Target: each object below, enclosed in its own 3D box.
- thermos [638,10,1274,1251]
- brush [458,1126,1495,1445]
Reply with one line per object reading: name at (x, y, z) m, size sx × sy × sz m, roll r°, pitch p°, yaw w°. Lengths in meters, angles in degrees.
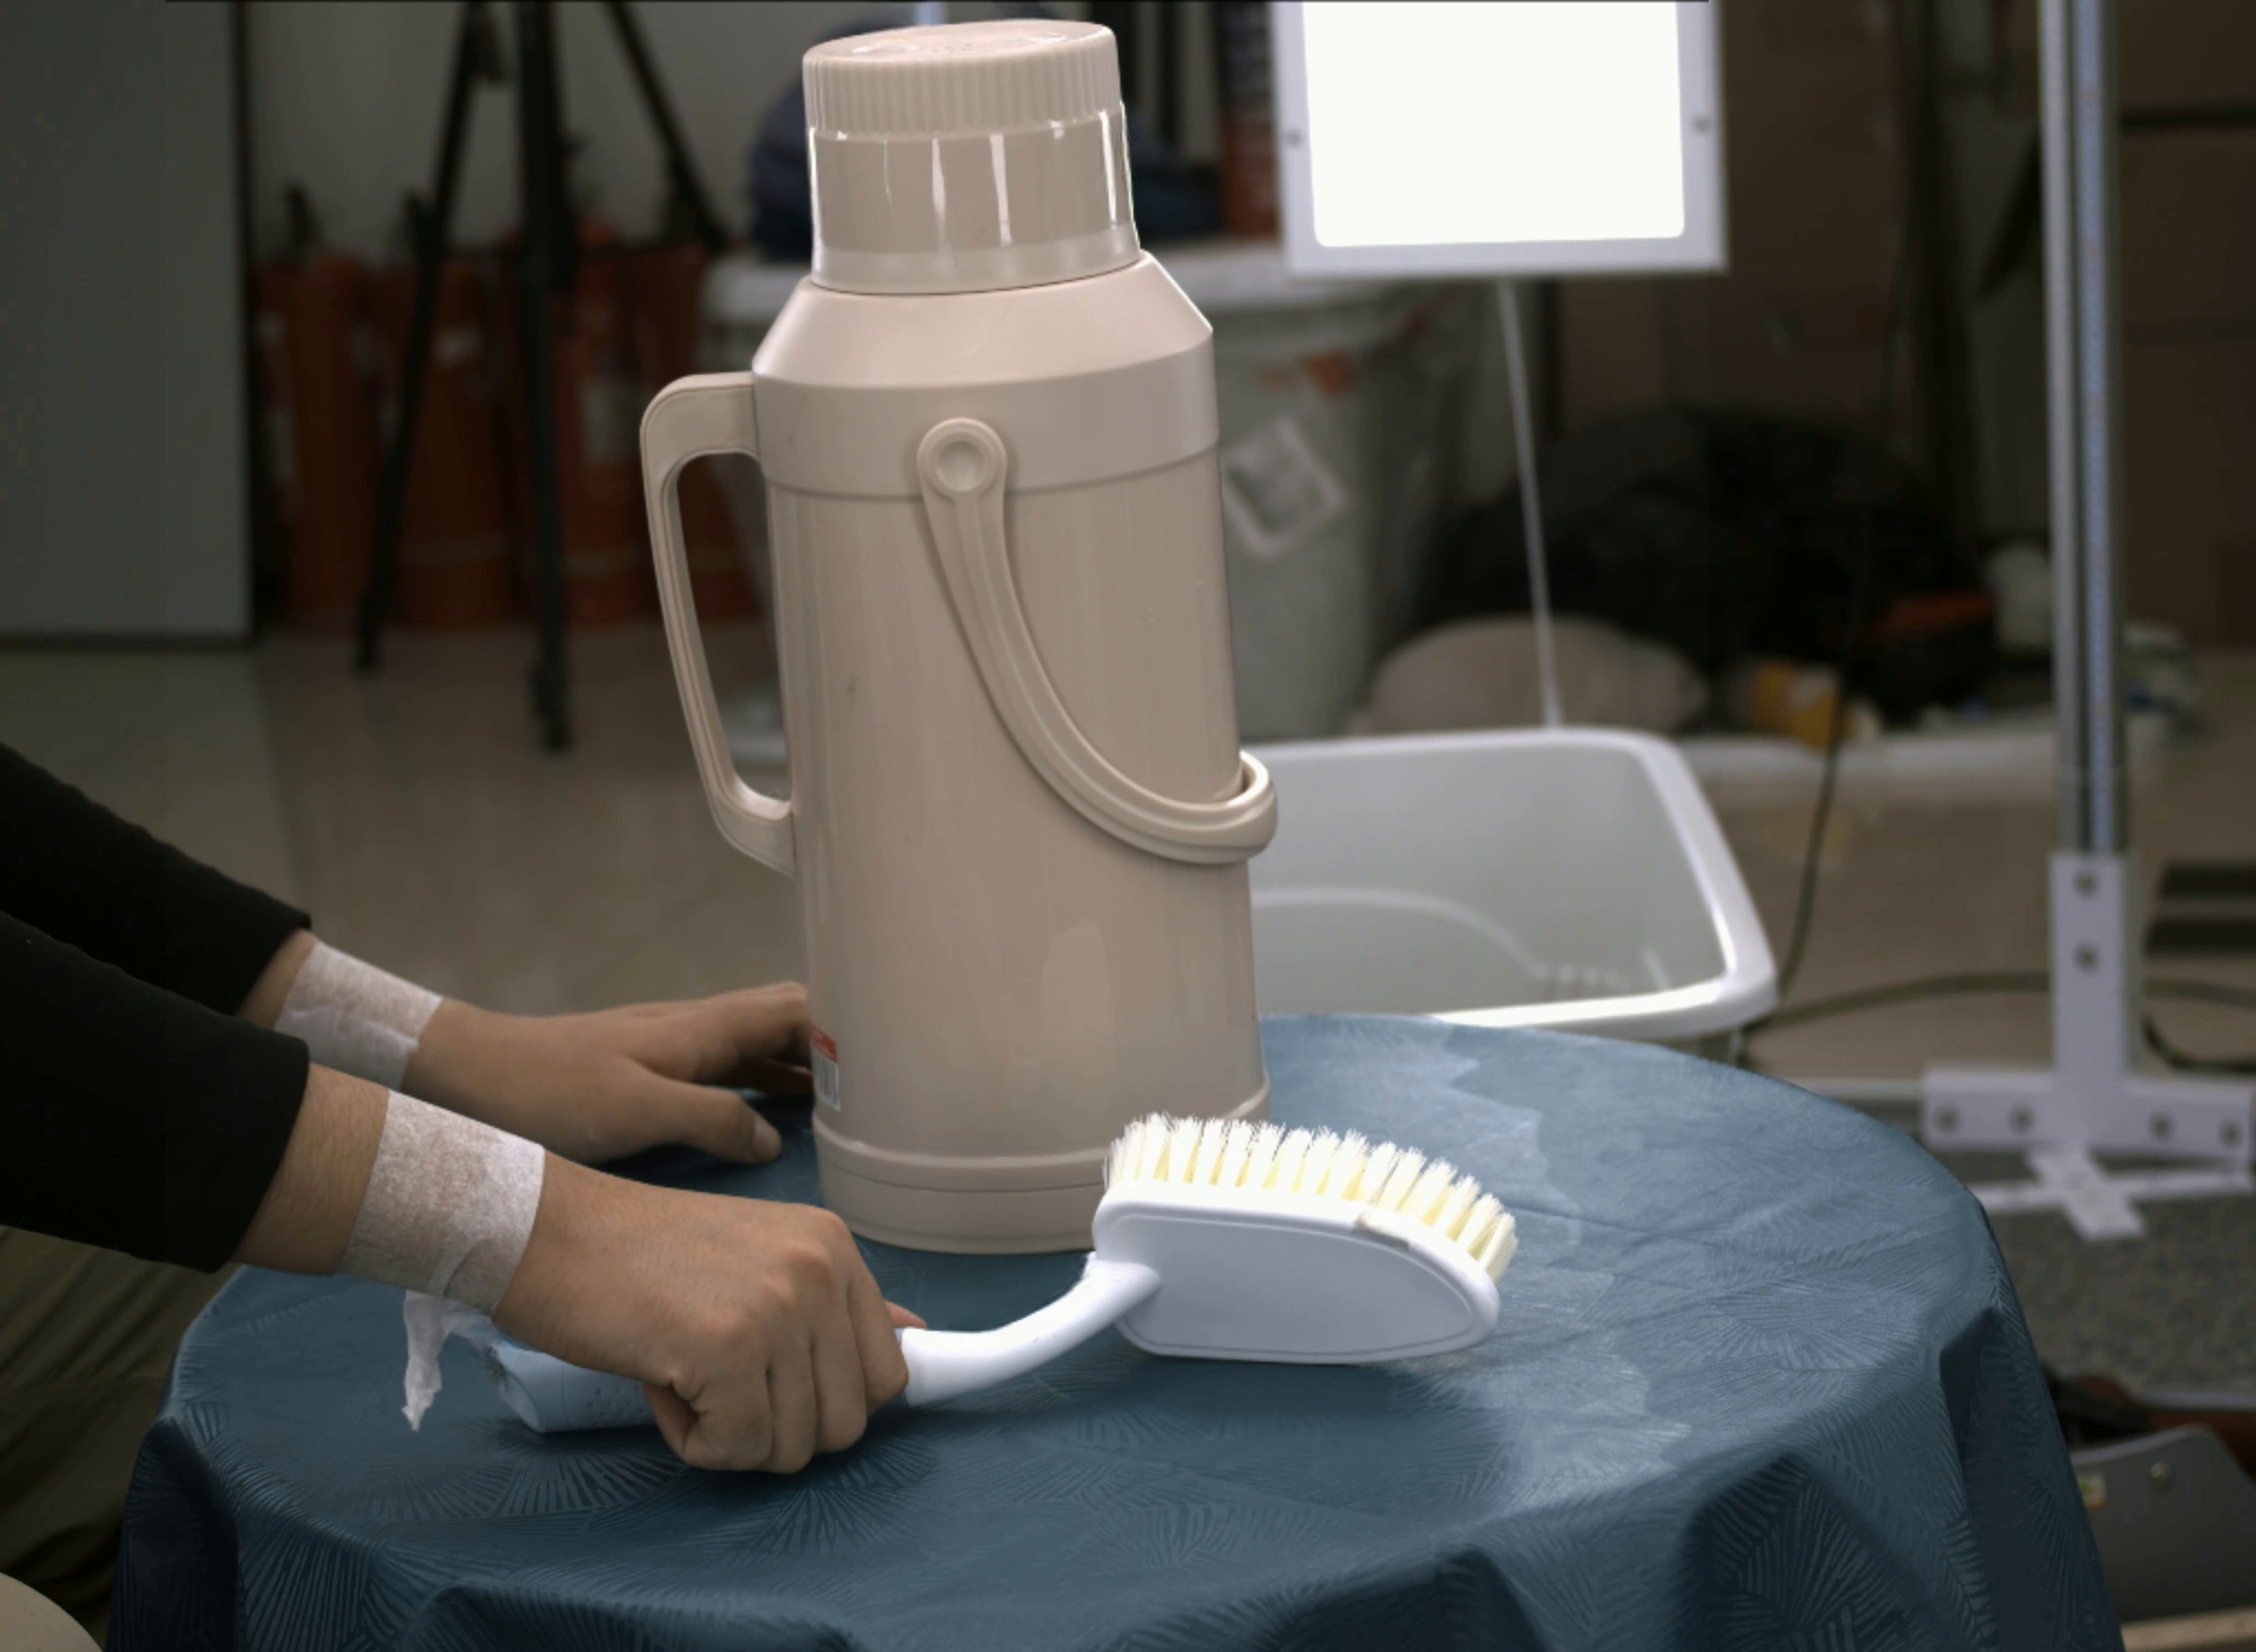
thermos at (-0.057, -0.067, 1.874) m, size 0.207 × 0.408 × 0.174 m, roll -3°, pitch 16°, yaw 6°
brush at (-0.048, 0.139, 1.716) m, size 0.327 × 0.083 × 0.084 m, roll -5°, pitch 0°, yaw 9°
